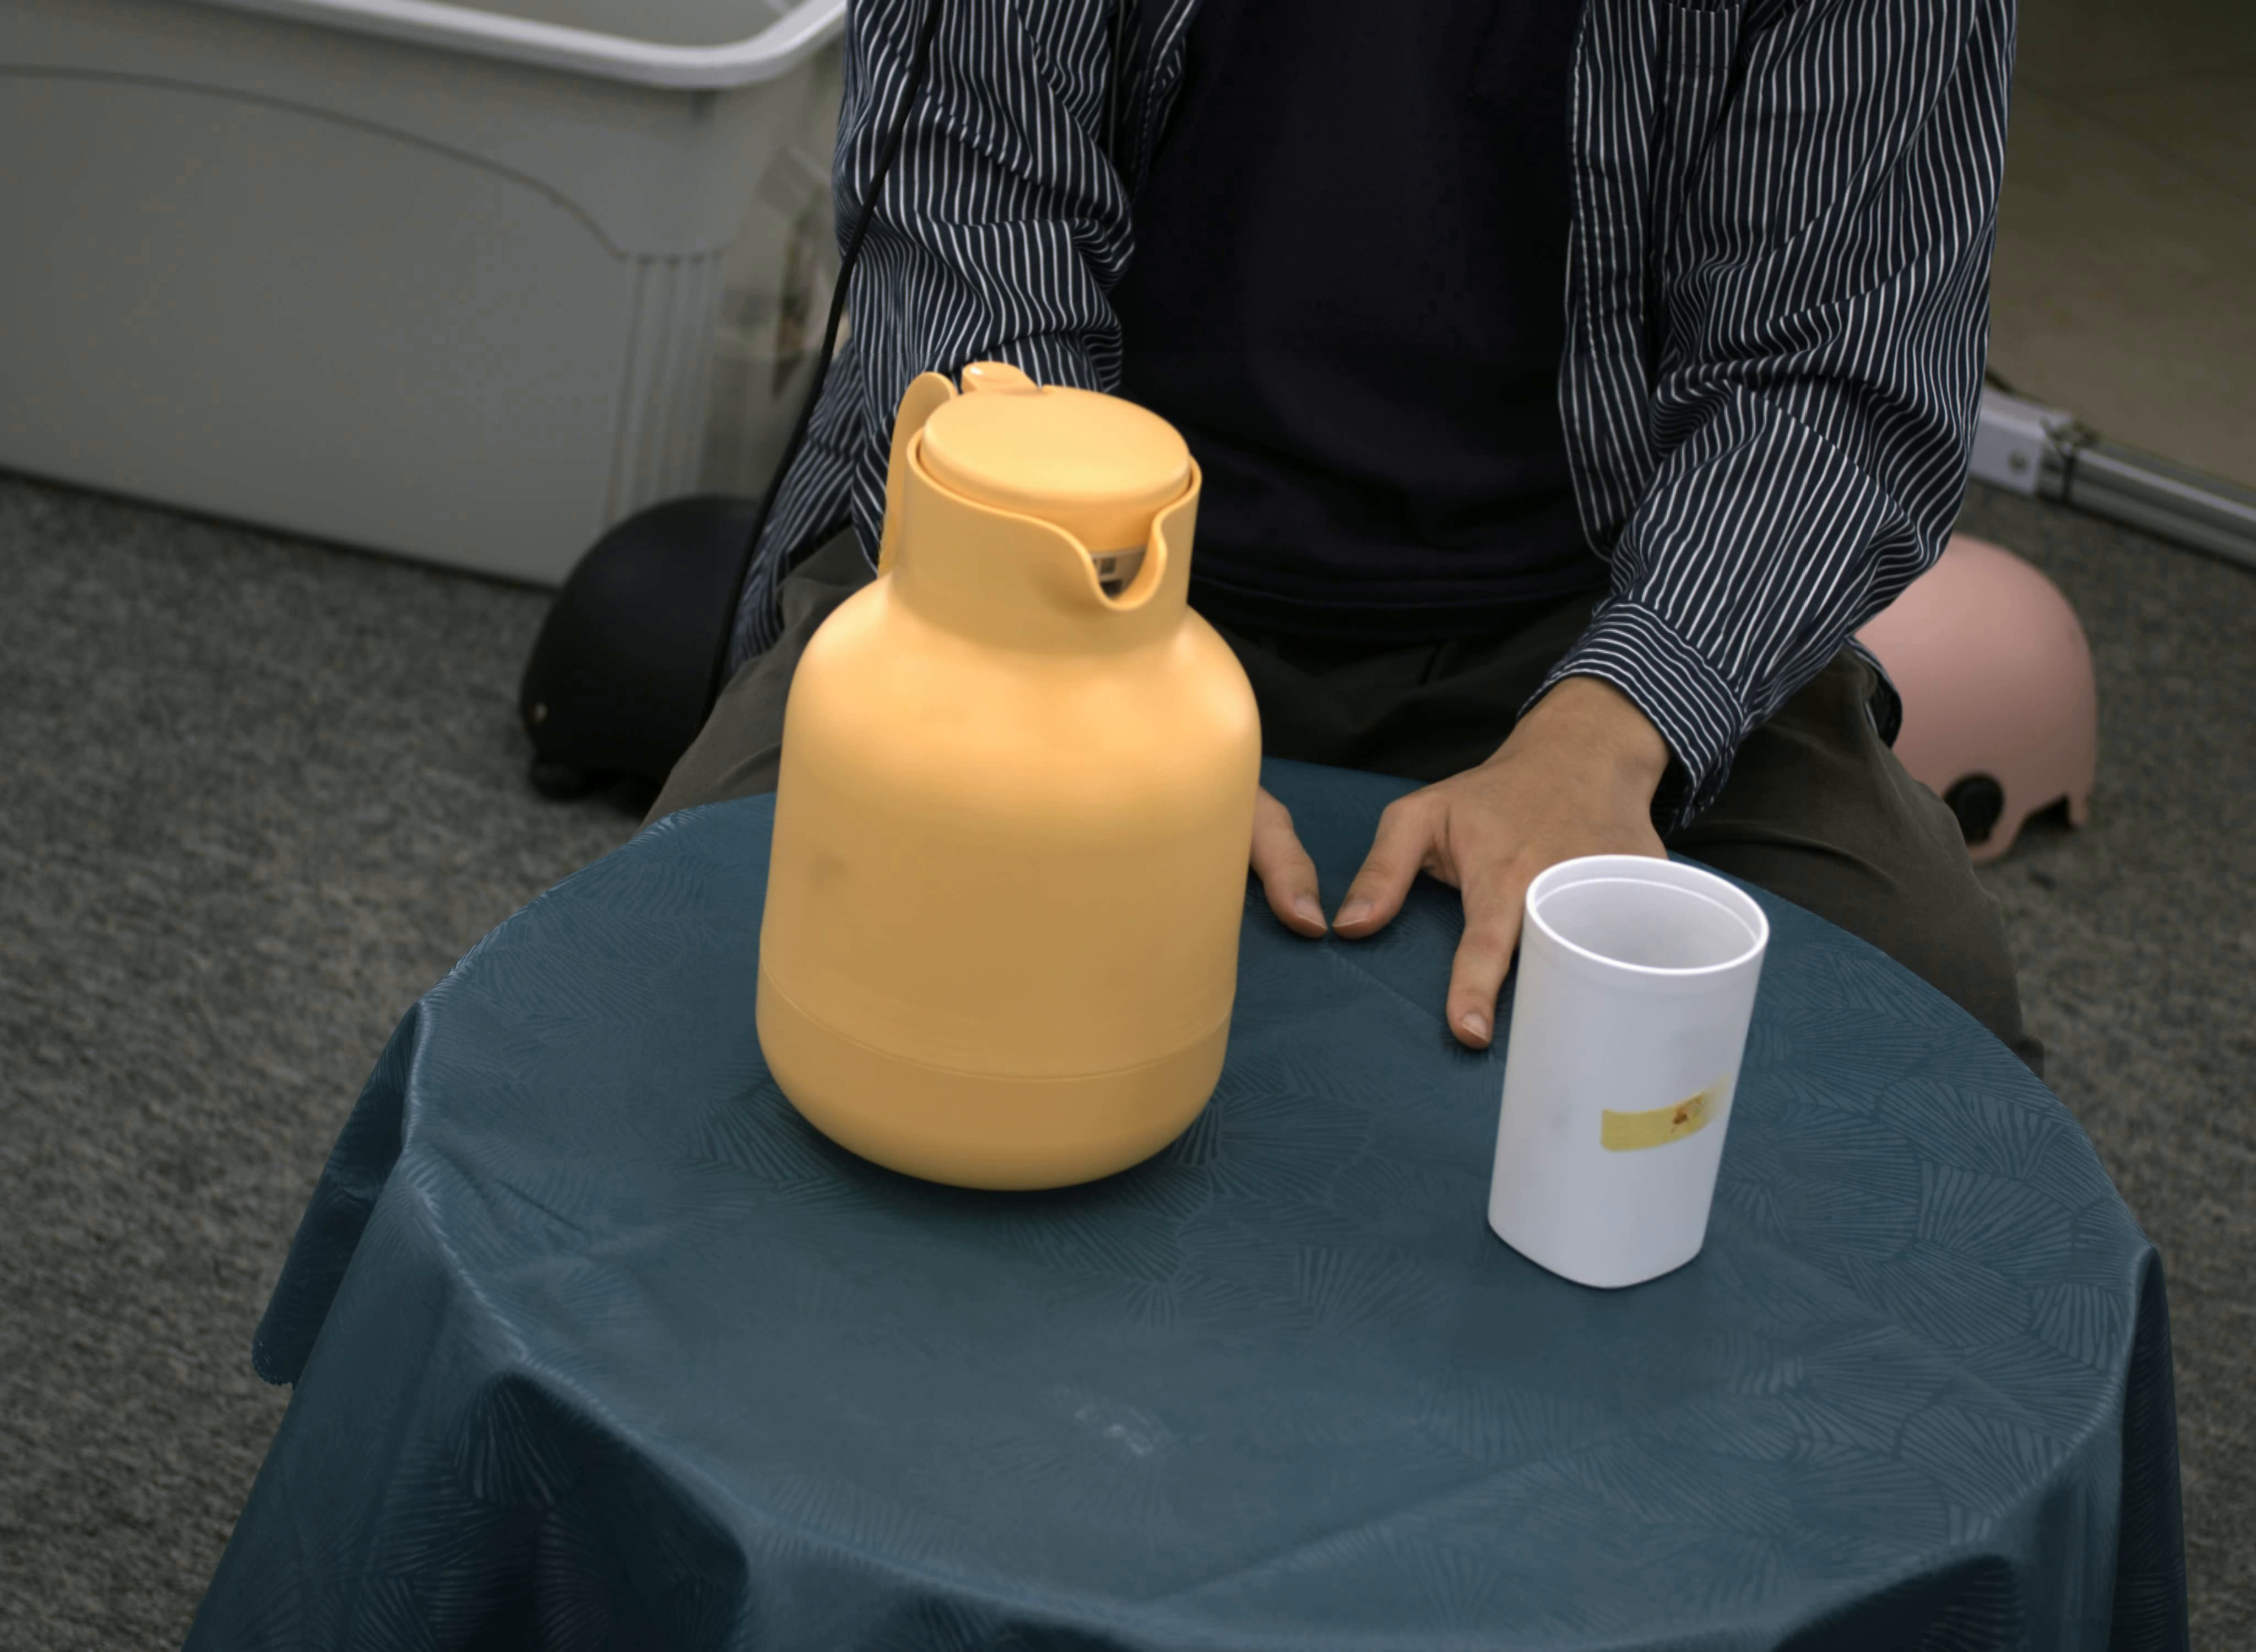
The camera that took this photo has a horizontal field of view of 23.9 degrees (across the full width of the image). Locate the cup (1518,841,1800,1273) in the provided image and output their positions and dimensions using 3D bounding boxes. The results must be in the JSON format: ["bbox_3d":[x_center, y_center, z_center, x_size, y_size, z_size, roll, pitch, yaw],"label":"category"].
[{"bbox_3d":[0.176,0.079,1.782,0.081,0.125,0.082,5,26,-3],"label":"cup"}]

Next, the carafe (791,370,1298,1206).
[{"bbox_3d":[-0.031,-0.022,1.794,0.162,0.259,0.204,-4,28,-23],"label":"carafe"}]
